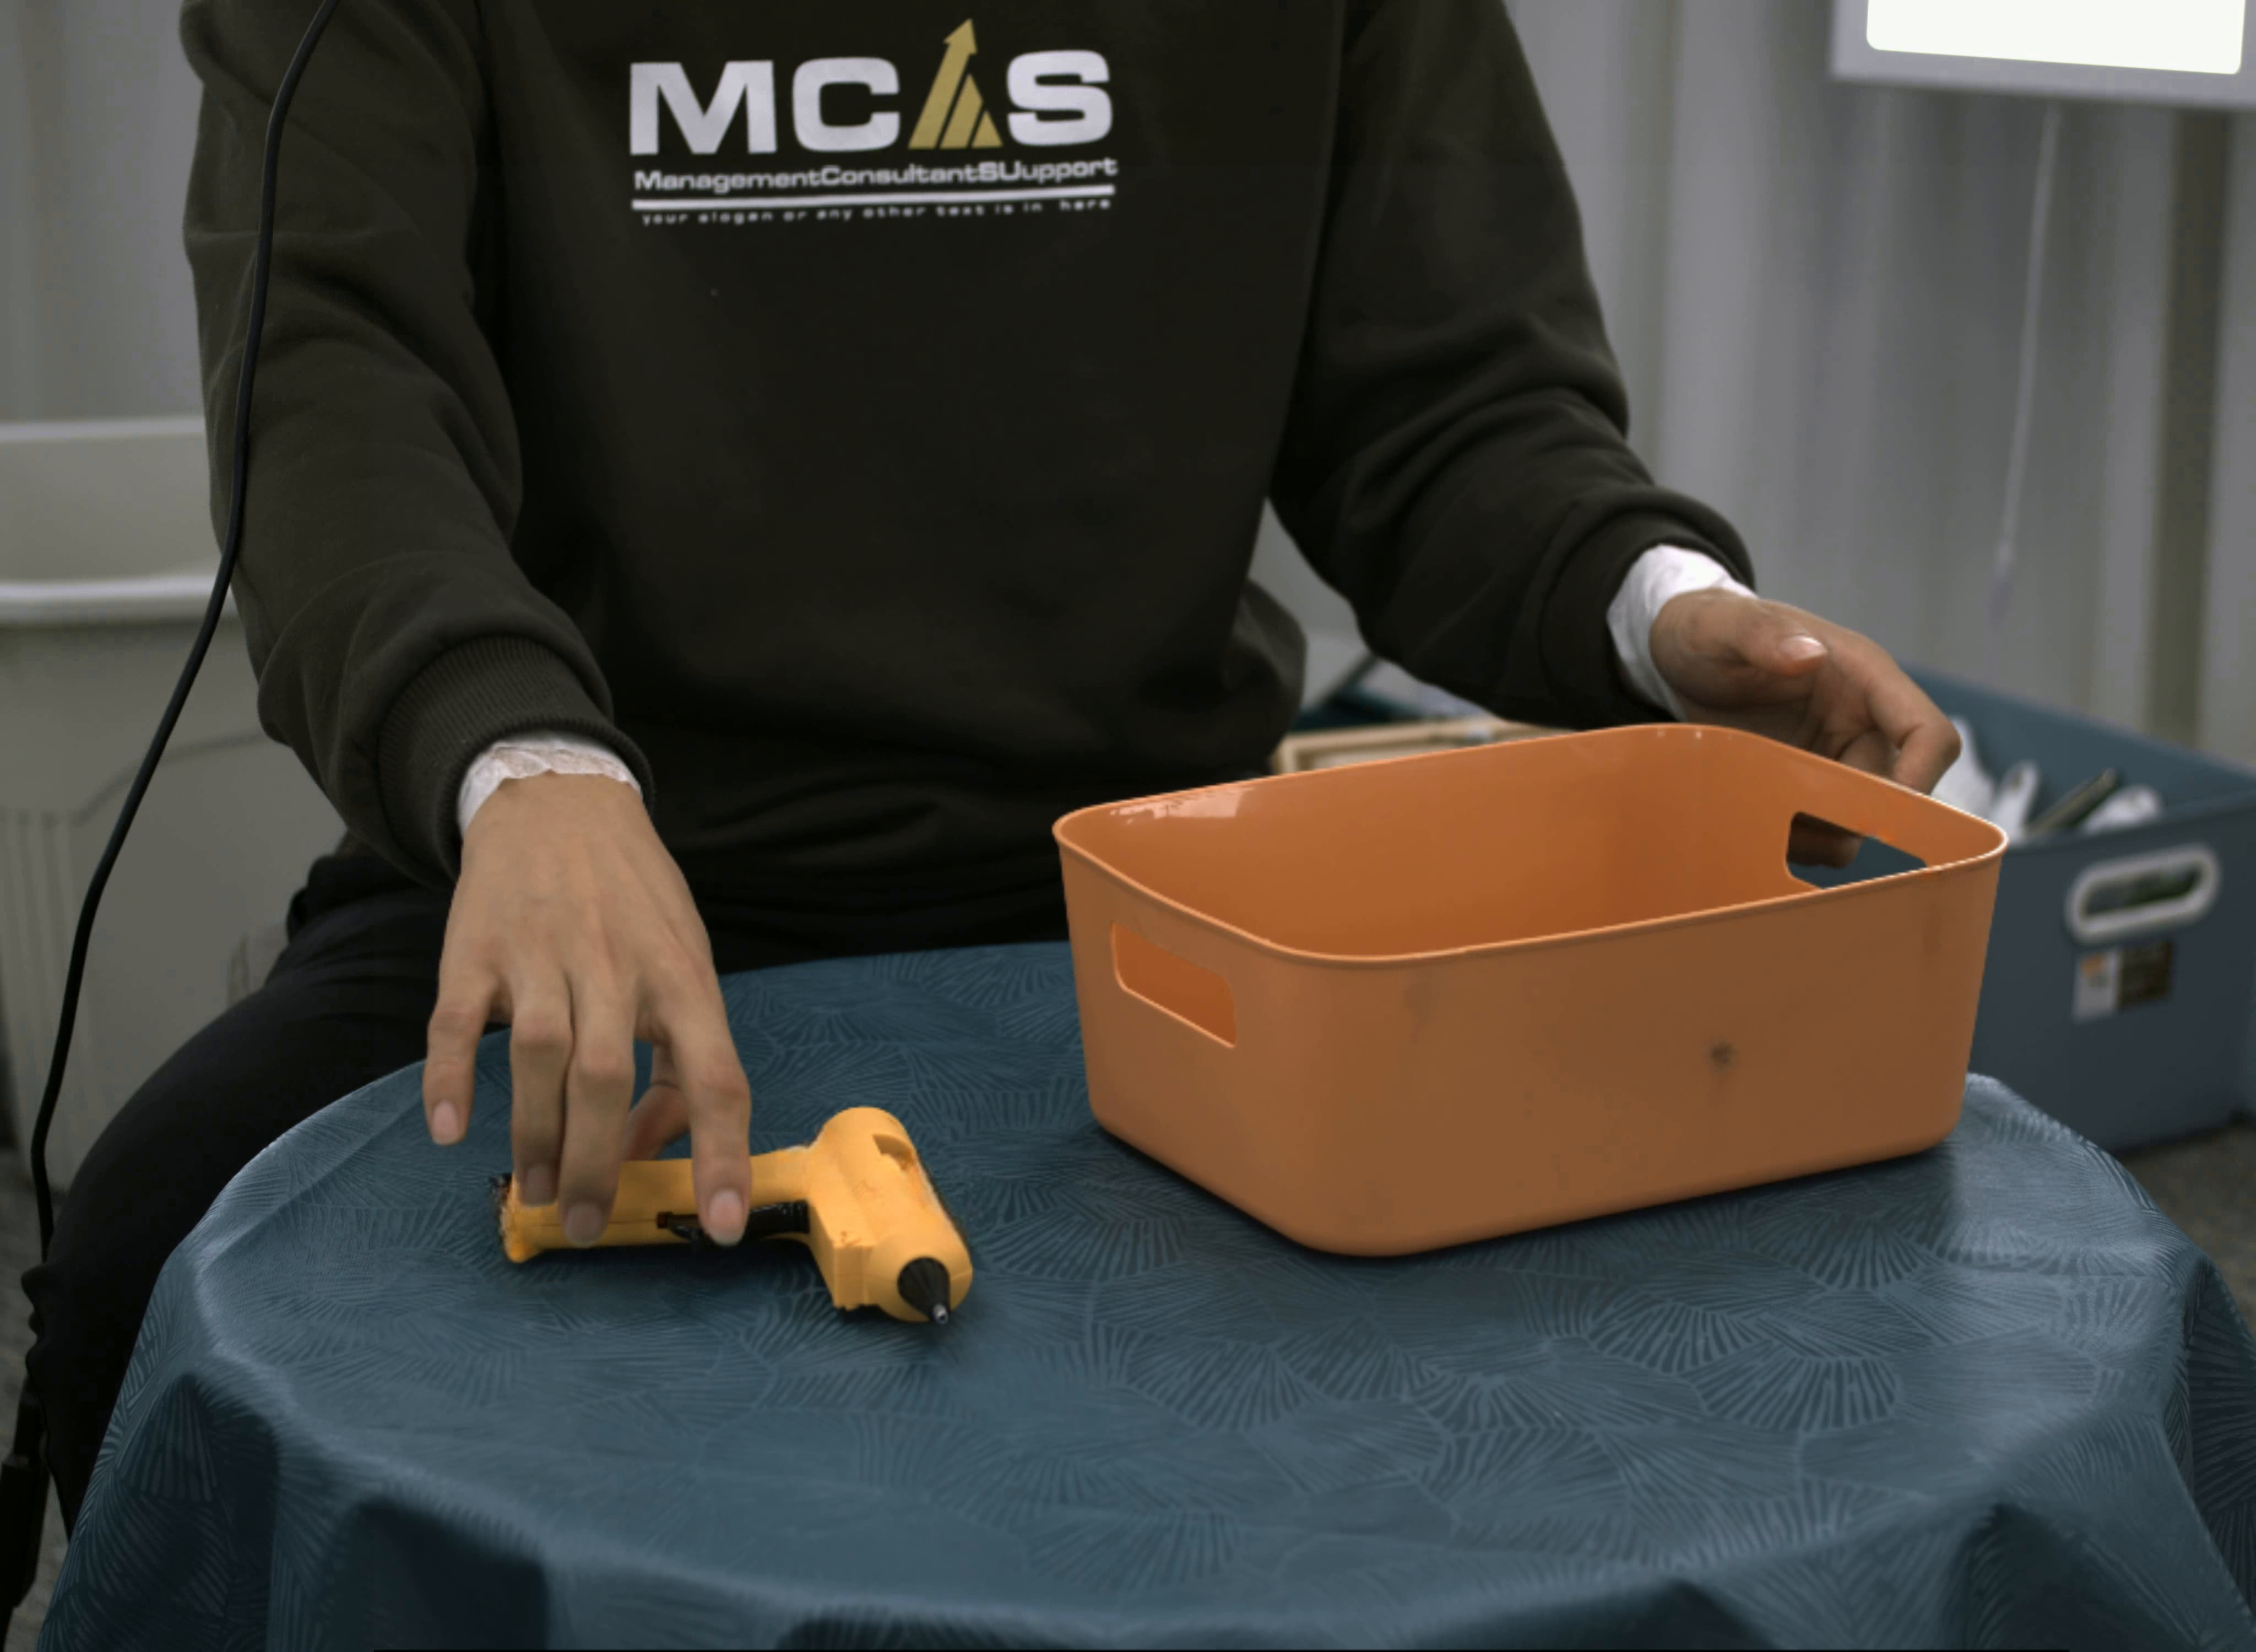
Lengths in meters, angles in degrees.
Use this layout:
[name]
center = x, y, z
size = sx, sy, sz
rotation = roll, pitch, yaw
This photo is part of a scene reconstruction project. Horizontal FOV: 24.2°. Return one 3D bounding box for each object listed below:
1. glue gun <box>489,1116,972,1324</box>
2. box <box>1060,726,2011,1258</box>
[glue gun]
center = -0.110, 0.124, 1.537
size = 0.133, 0.031, 0.150
rotation = -5, 15, -16
[box]
center = 0.127, 0.050, 1.669
size = 0.274, 0.103, 0.197
rotation = -9, 18, -29
